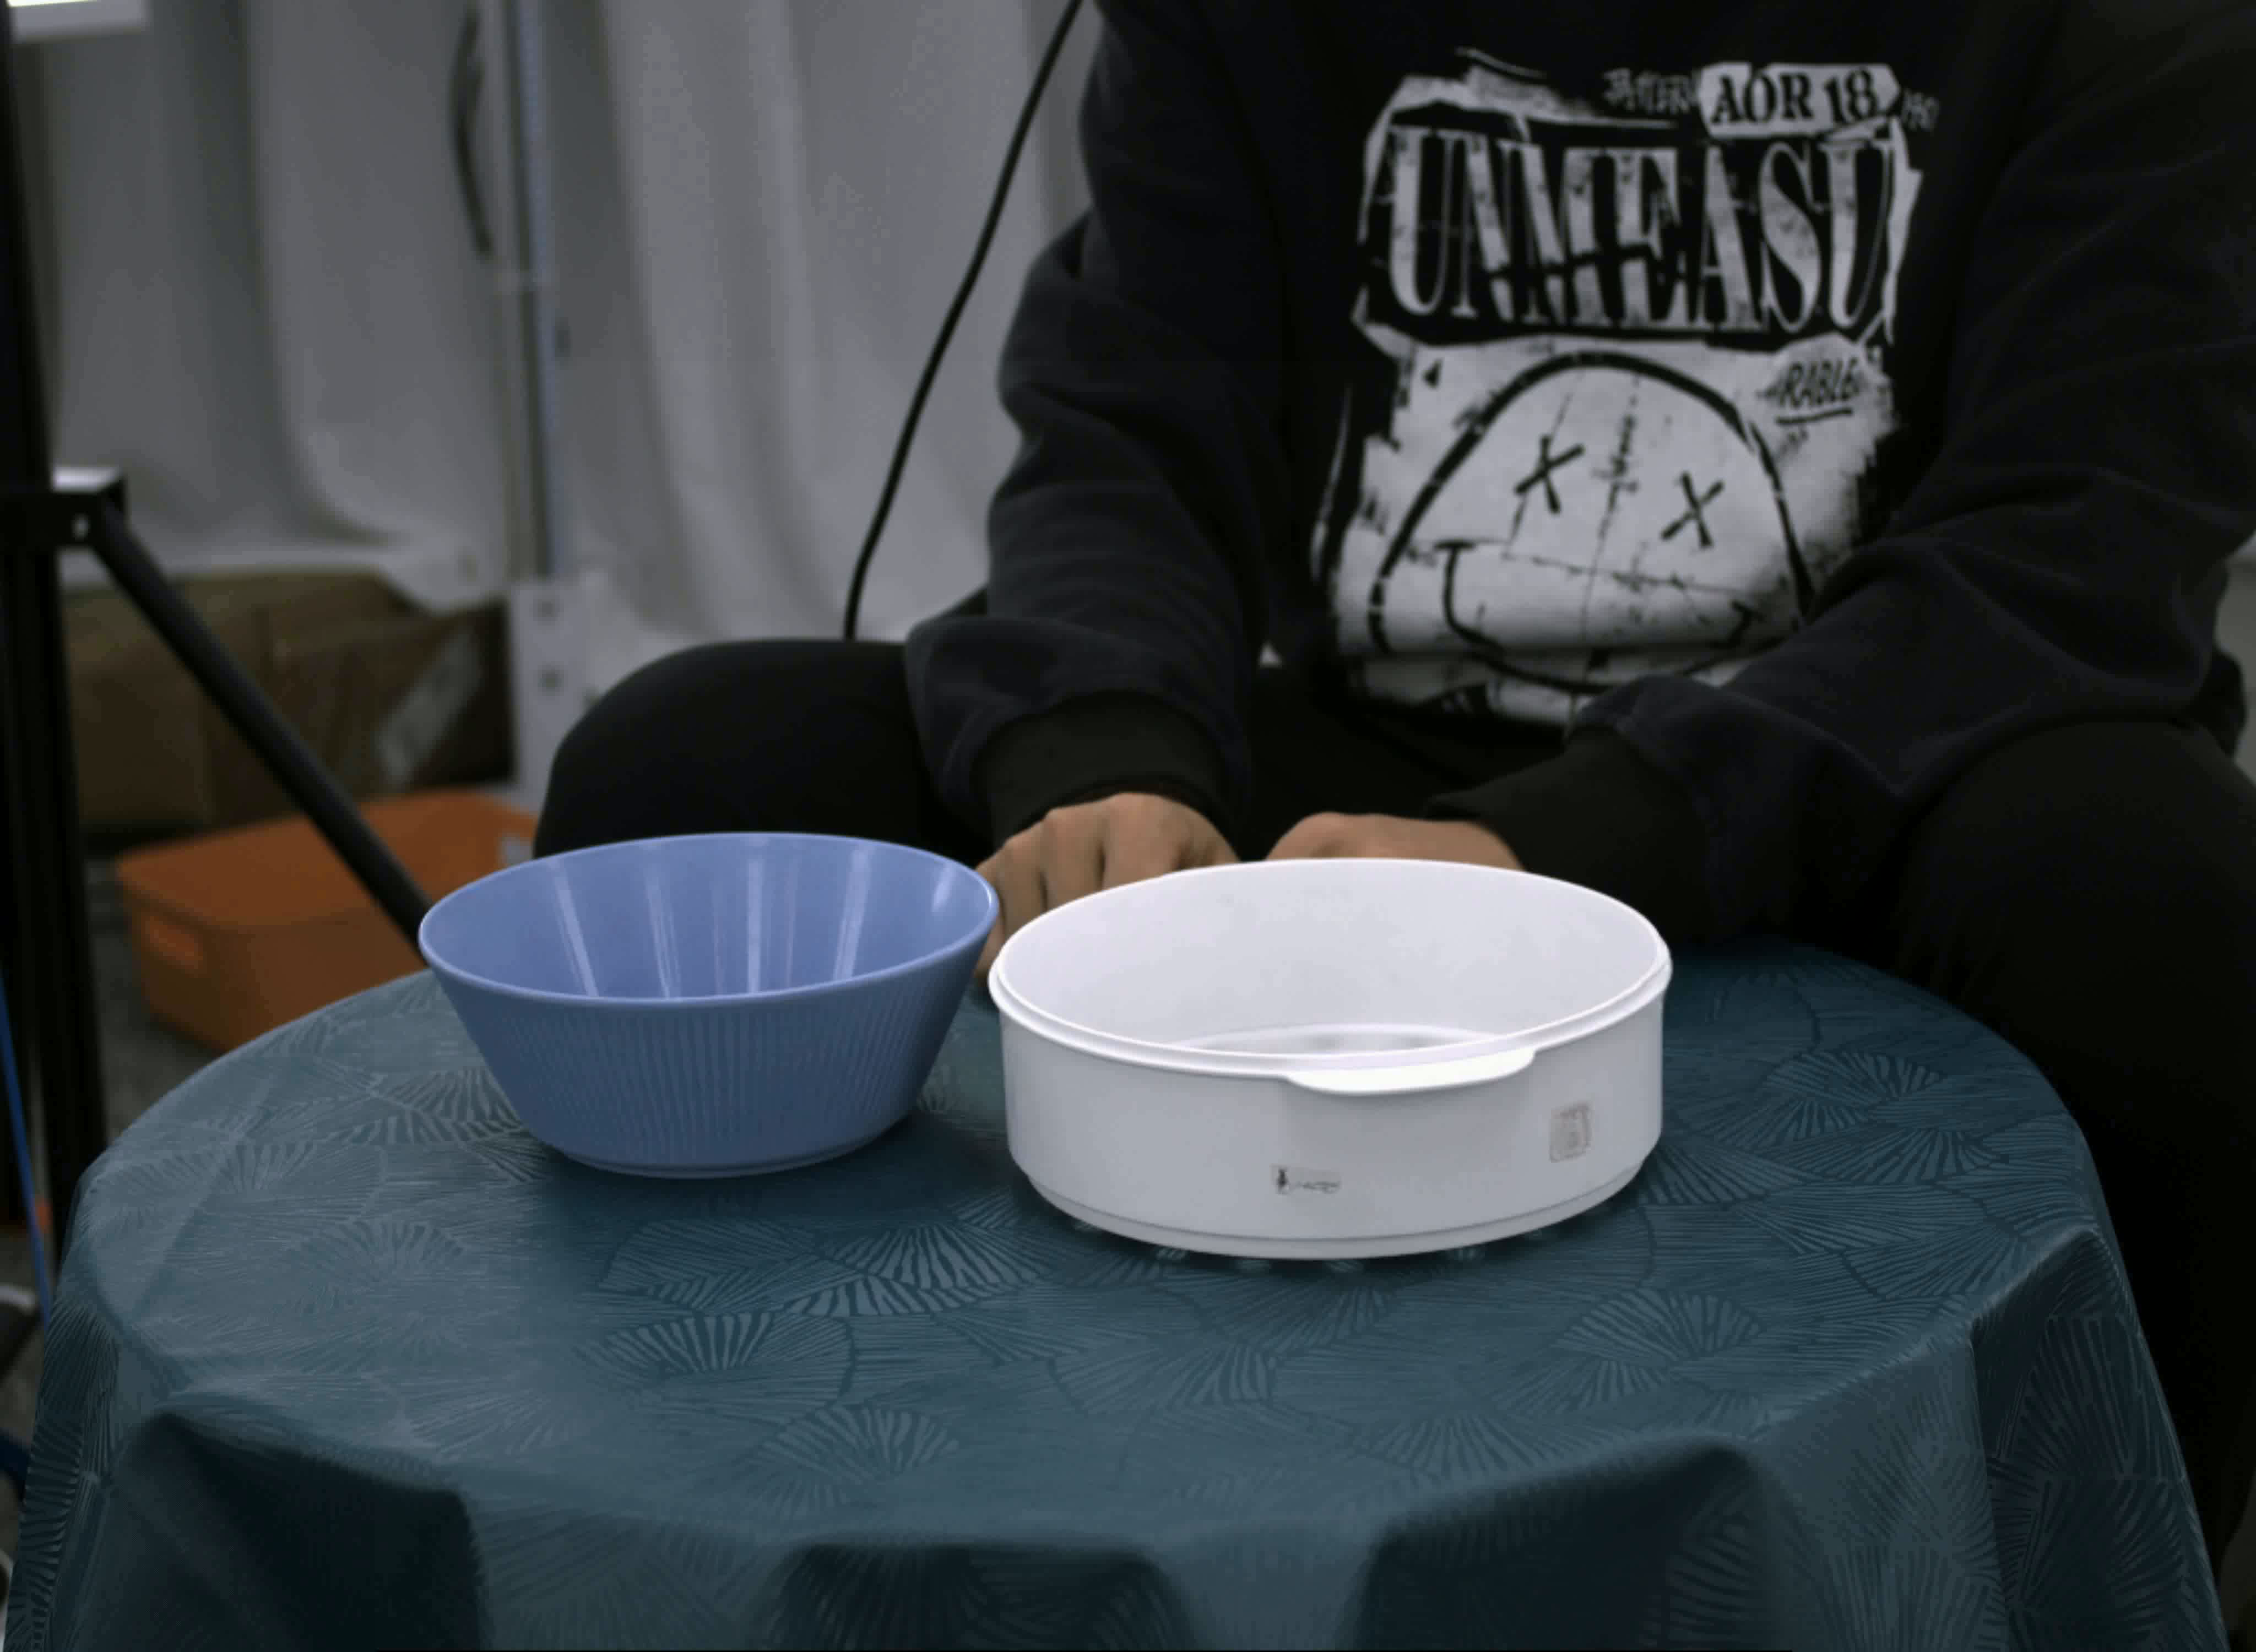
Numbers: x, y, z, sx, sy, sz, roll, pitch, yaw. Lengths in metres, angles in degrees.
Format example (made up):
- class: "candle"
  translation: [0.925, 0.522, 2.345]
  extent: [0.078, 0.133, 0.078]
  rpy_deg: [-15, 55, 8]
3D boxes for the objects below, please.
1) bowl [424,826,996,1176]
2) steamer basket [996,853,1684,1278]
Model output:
- class: "bowl"
  translation: [-0.126, 0.056, 1.631]
  extent: [0.175, 0.070, 0.177]
  rpy_deg: [-3, 17, 0]
- class: "steamer basket"
  translation: [0.063, 0.070, 1.557]
  extent: [0.199, 0.069, 0.233]
  rpy_deg: [-5, 18, -10]
